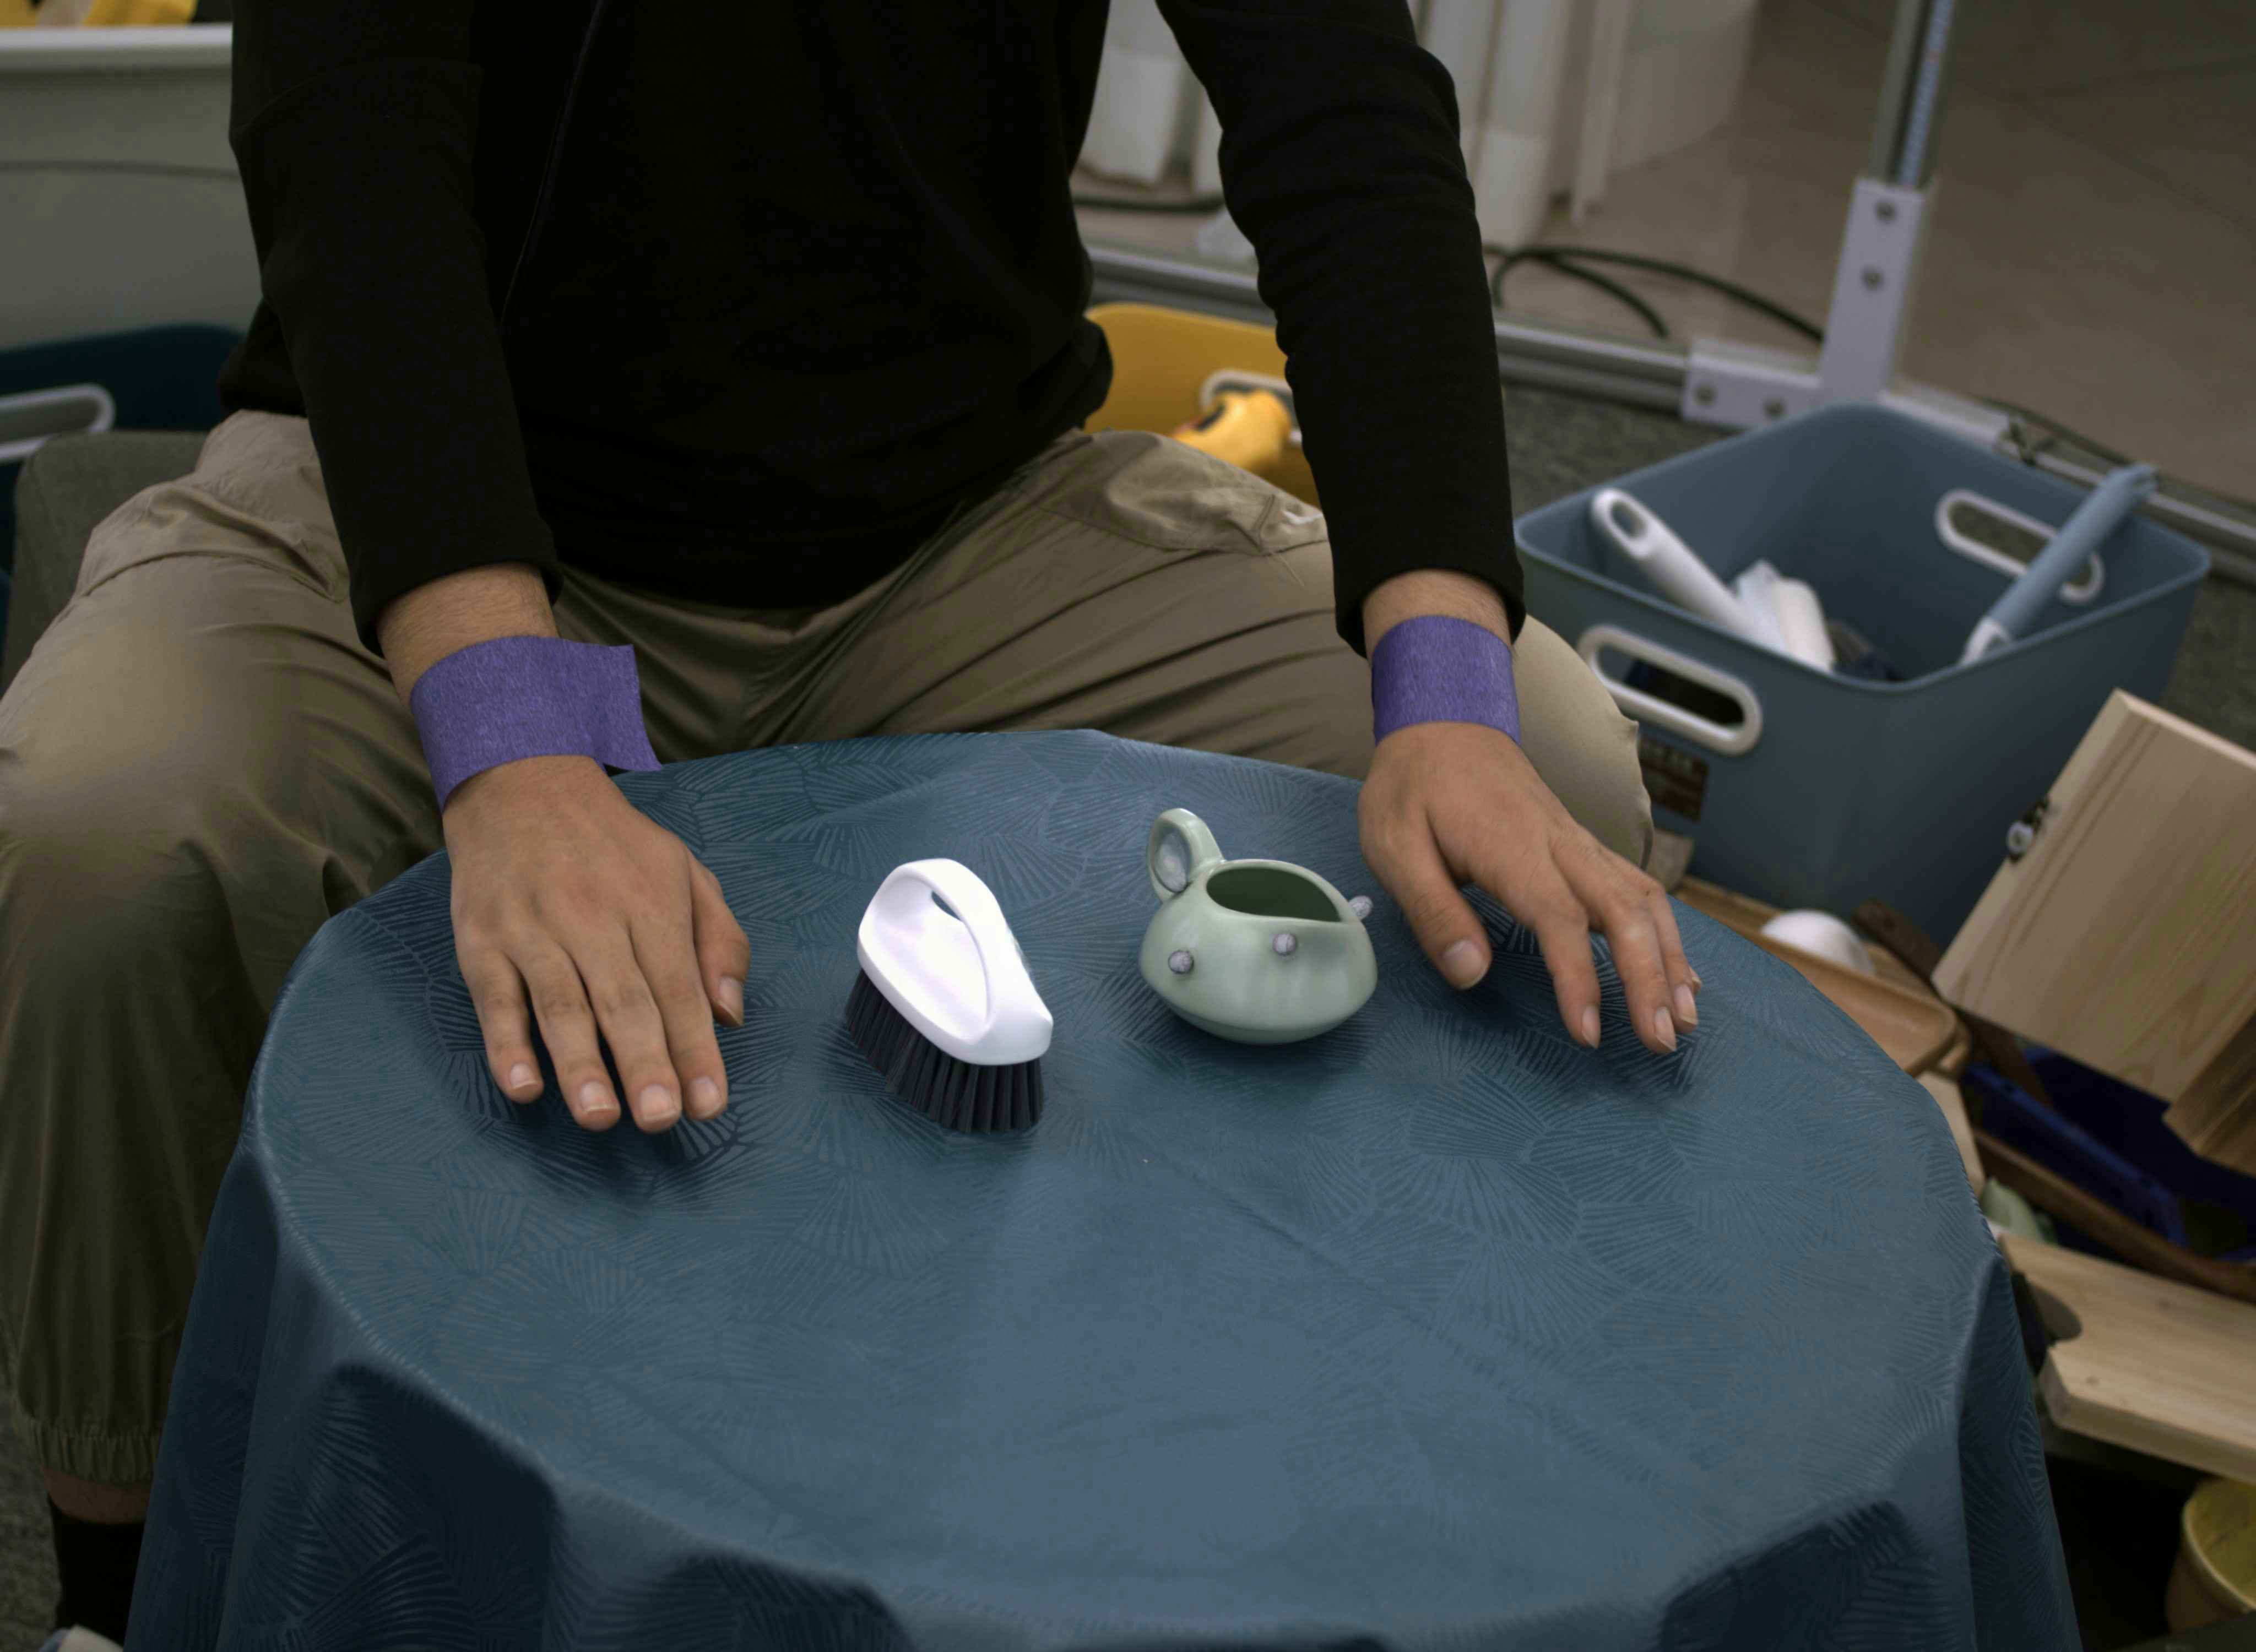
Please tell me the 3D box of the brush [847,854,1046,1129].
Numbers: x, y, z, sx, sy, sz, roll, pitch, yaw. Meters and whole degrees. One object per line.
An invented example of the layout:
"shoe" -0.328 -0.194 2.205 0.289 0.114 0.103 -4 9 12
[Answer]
"brush" -0.062 0.051 1.848 0.050 0.072 0.100 -5 30 -26

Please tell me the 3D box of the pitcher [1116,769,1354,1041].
"pitcher" 0.034 0.030 1.922 0.085 0.060 0.109 -16 50 -17
